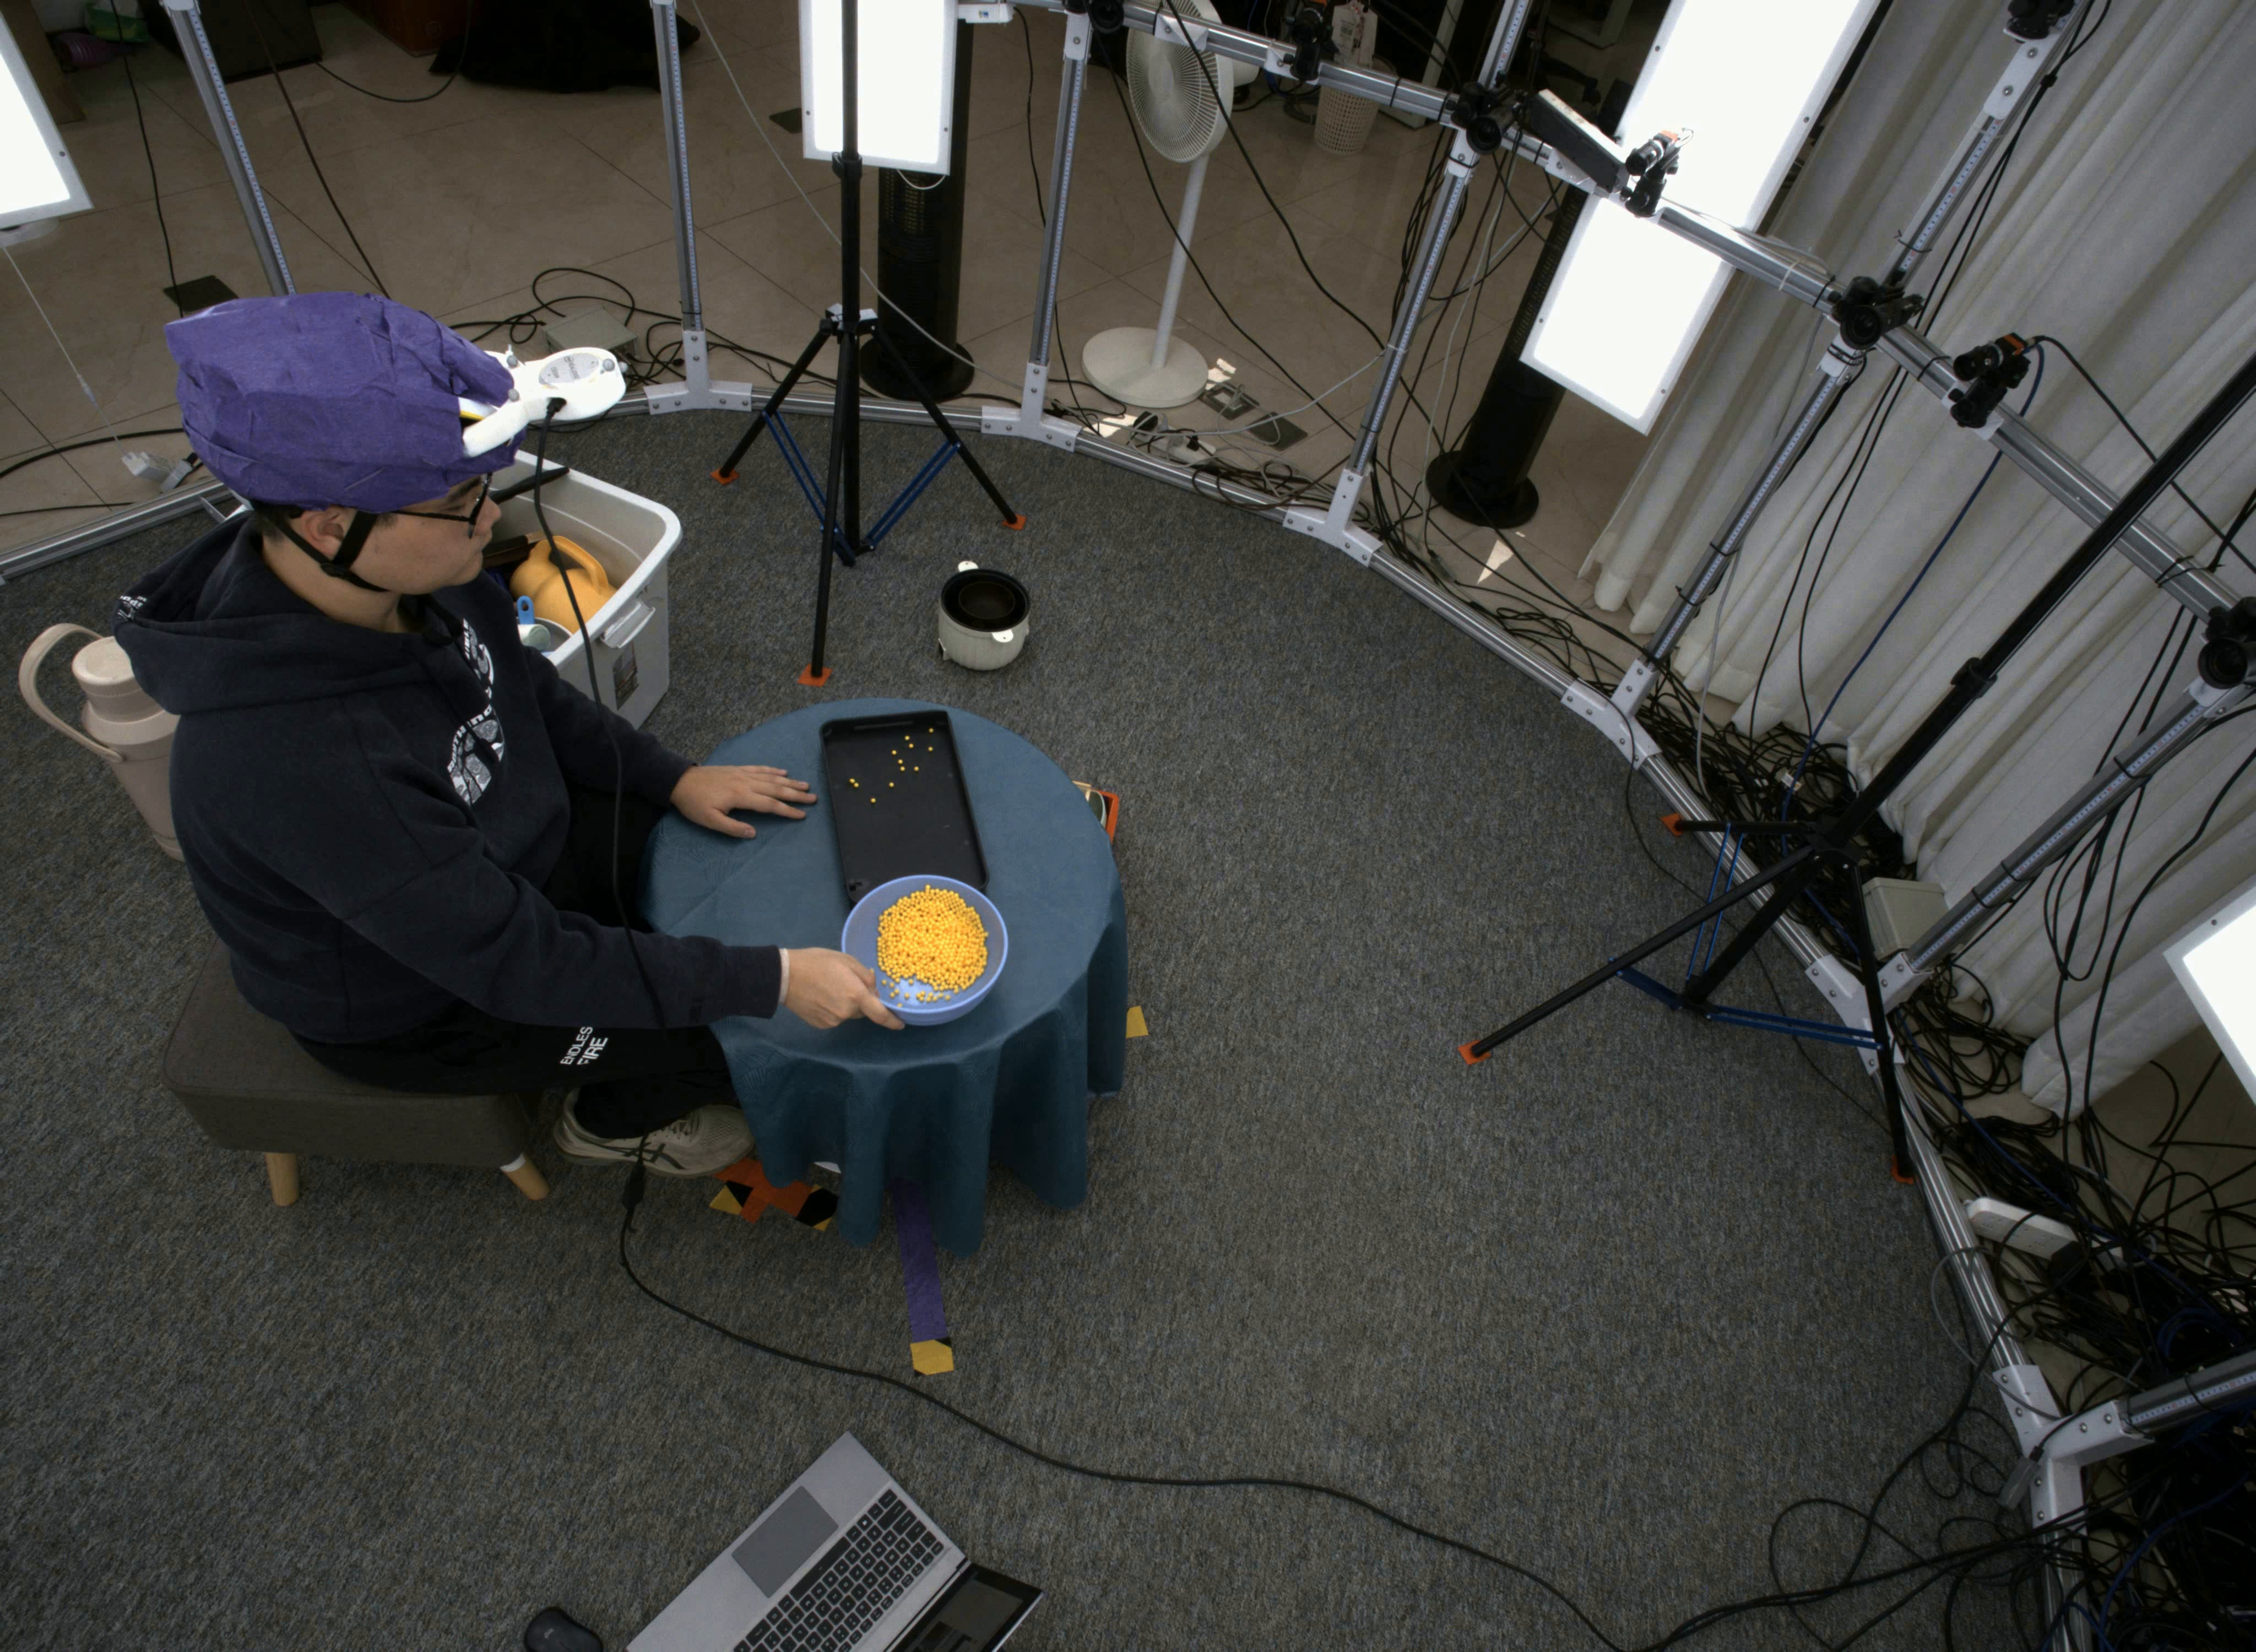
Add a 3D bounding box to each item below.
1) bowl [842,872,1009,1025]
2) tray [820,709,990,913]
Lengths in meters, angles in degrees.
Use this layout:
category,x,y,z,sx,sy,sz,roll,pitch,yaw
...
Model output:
category,x,y,z,sx,sy,sz,roll,pitch,yaw
bowl,-0.244,0.161,1.571,0.196,0.097,0.193,7,52,-7
tray,-0.303,-0.023,1.744,0.185,0.038,0.310,-6,55,-18
